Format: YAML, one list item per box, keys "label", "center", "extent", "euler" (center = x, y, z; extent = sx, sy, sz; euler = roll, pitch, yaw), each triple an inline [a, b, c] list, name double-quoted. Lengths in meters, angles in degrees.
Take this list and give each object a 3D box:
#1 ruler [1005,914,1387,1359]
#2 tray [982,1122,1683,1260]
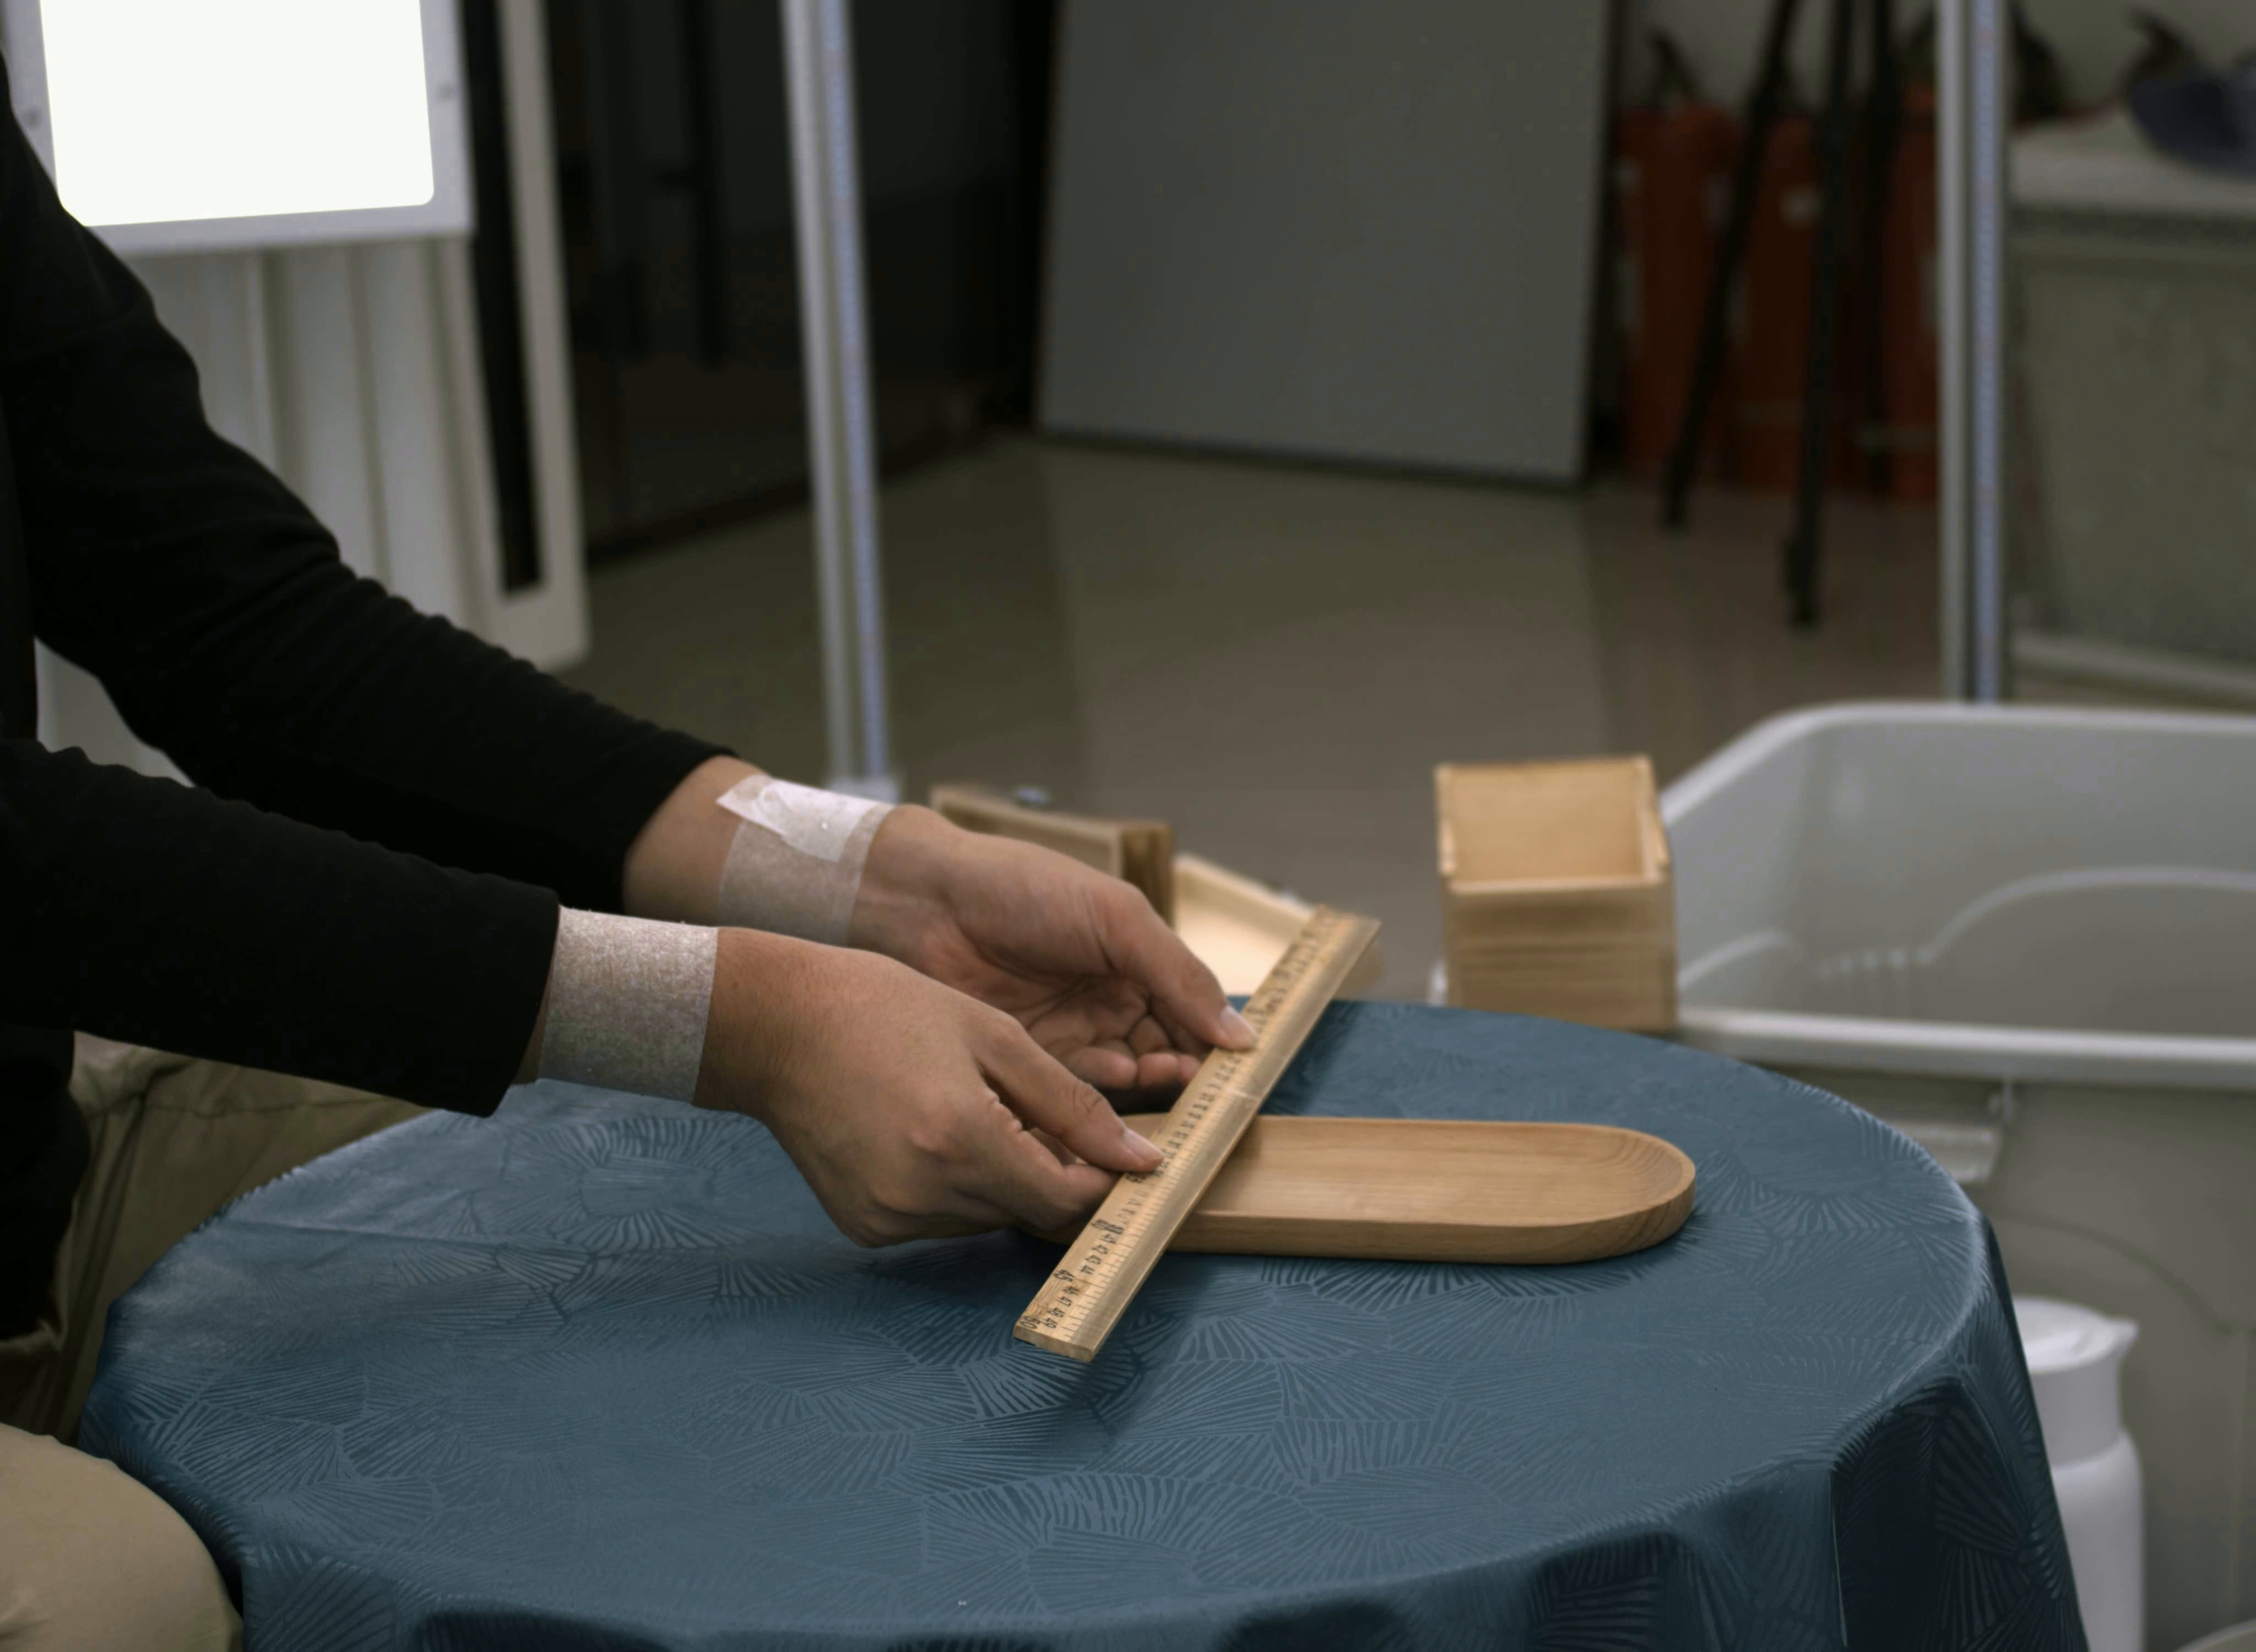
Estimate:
- label: "ruler"
  center: [0.030, 0.092, 1.784]
  extent: [0.026, 0.006, 0.497]
  euler: [15, 16, 9]
- label: "tray"
  center: [0.065, 0.117, 1.730]
  extent: [0.230, 0.020, 0.101]
  euler: [-2, 13, 17]
